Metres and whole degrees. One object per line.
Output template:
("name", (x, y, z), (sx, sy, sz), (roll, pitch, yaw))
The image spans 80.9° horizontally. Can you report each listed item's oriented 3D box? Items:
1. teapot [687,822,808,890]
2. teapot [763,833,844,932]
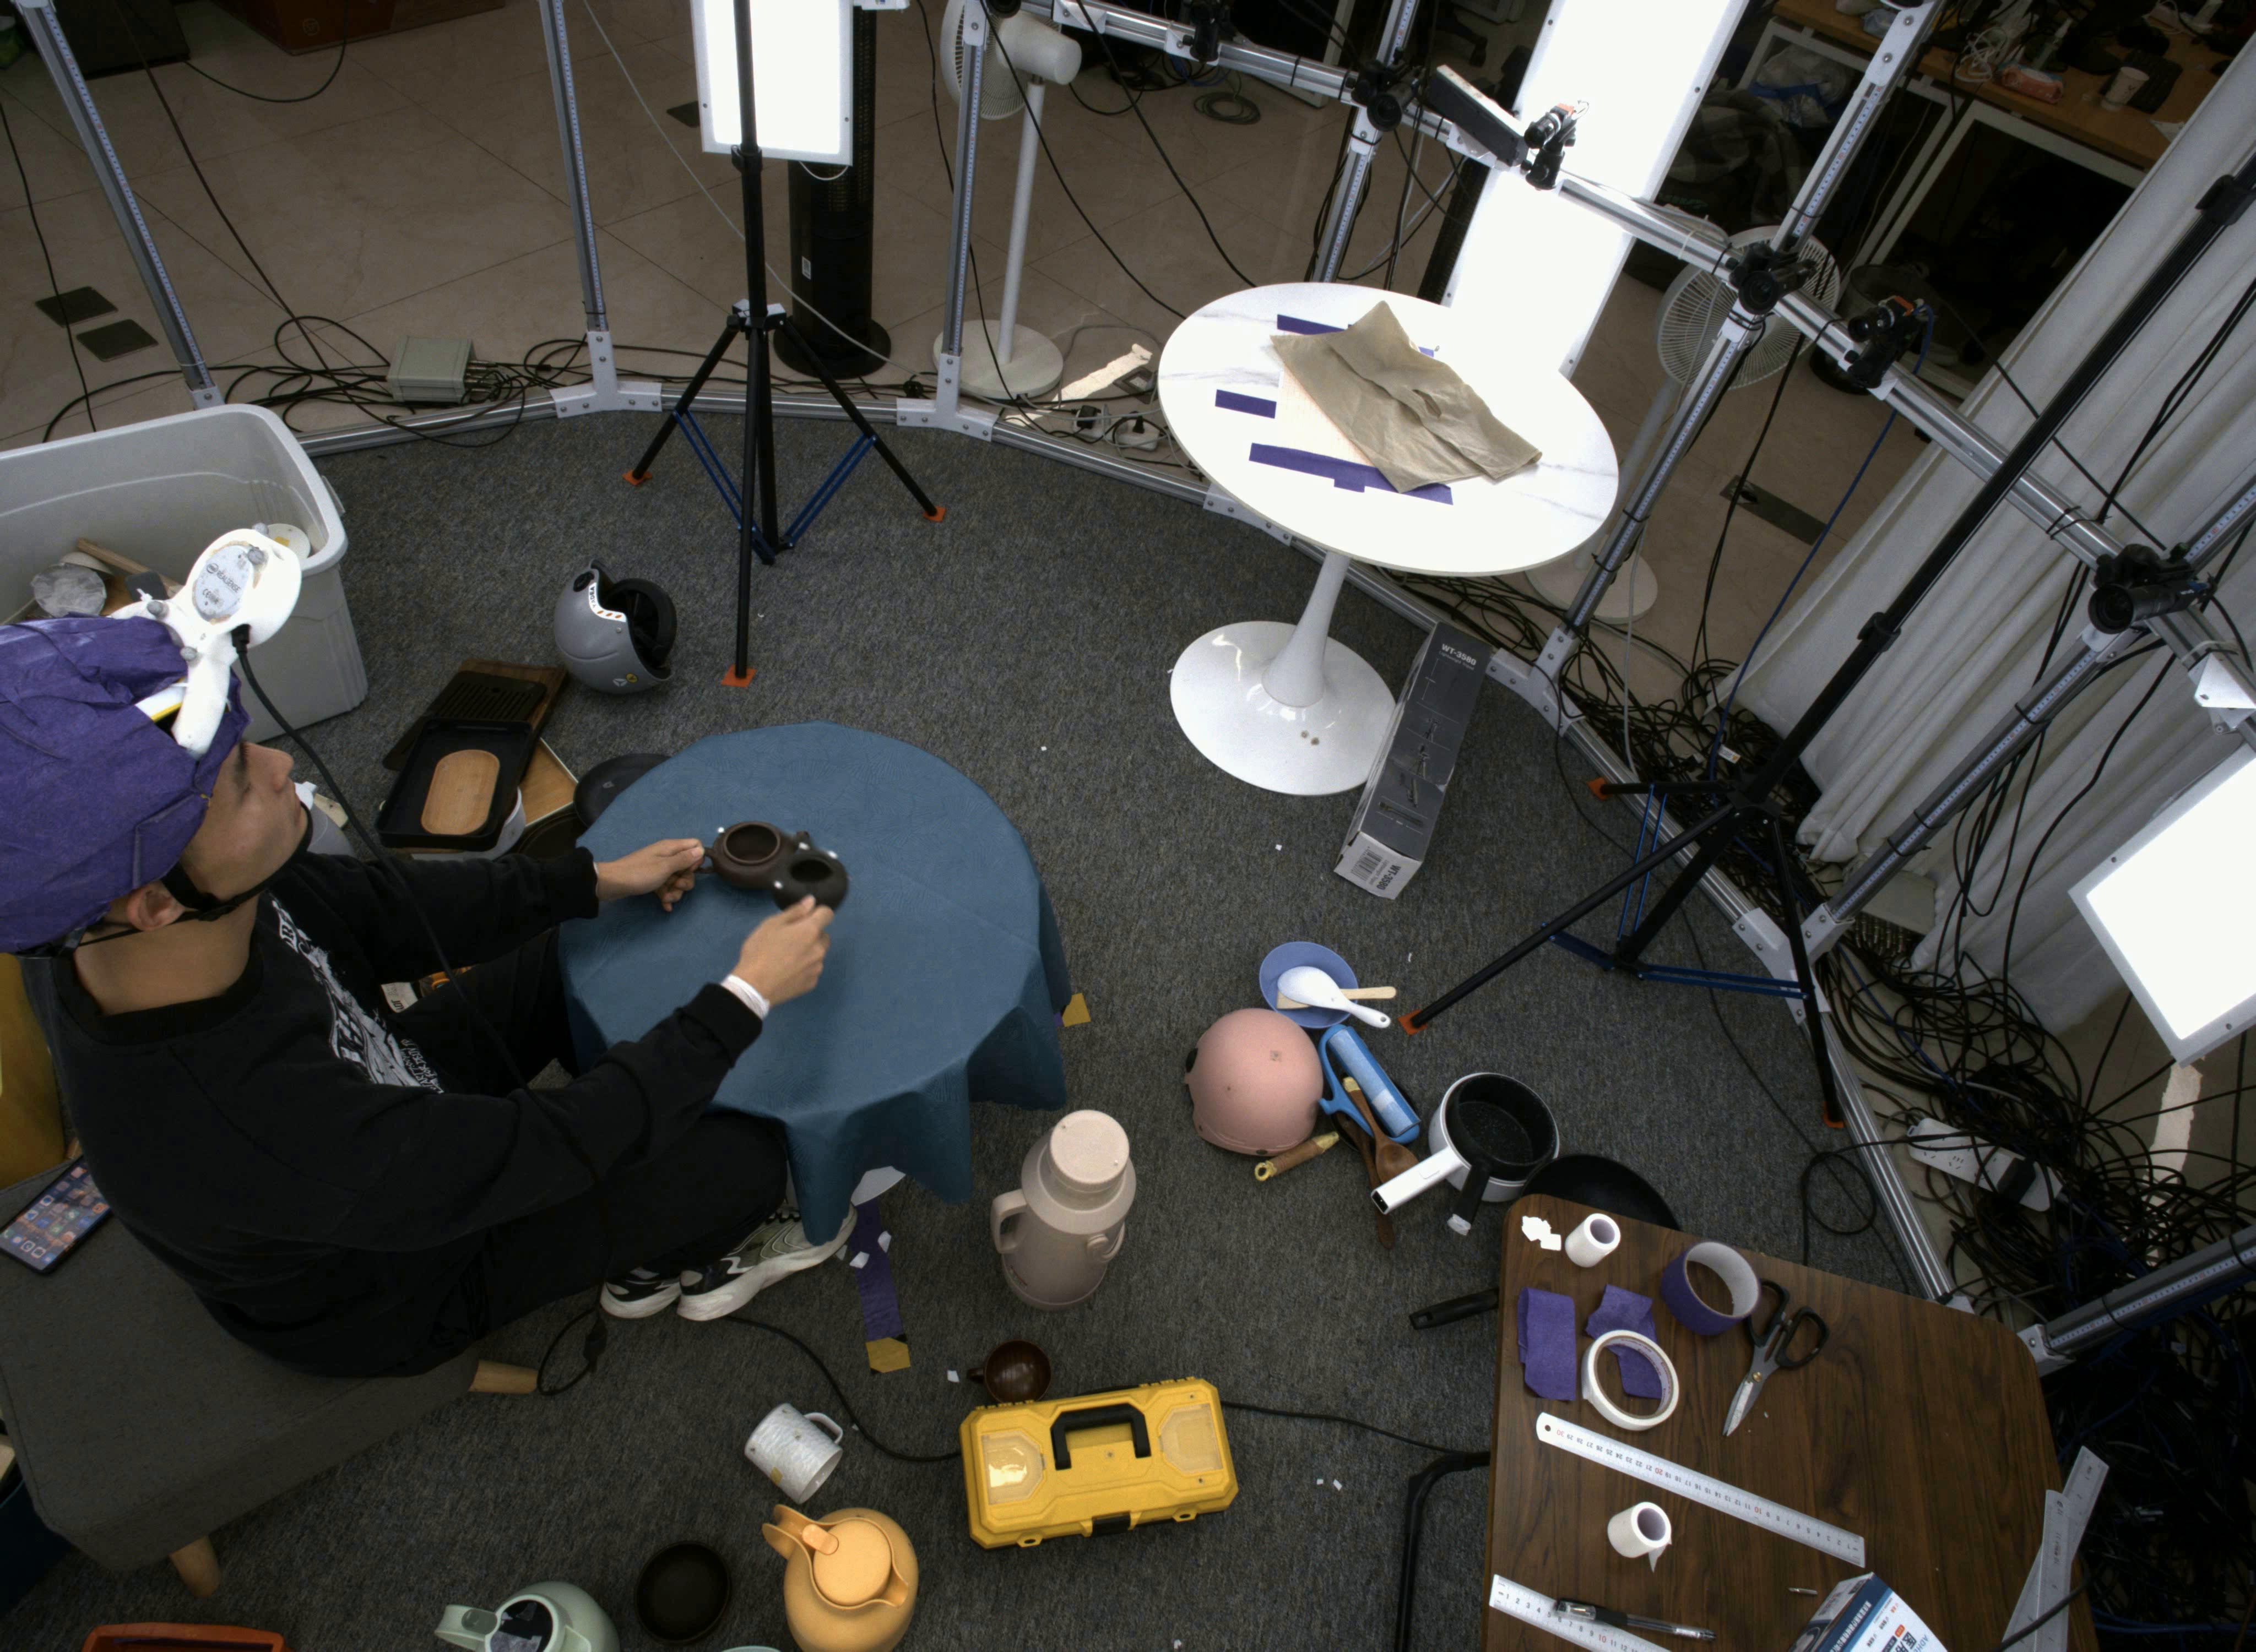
("teapot", (-0.482, 0.035, 1.640), (0.154, 0.055, 0.099), (-12, 48, -26))
("teapot", (-0.378, 0.066, 1.513), (0.093, 0.066, 0.149), (-2, 37, -17))
